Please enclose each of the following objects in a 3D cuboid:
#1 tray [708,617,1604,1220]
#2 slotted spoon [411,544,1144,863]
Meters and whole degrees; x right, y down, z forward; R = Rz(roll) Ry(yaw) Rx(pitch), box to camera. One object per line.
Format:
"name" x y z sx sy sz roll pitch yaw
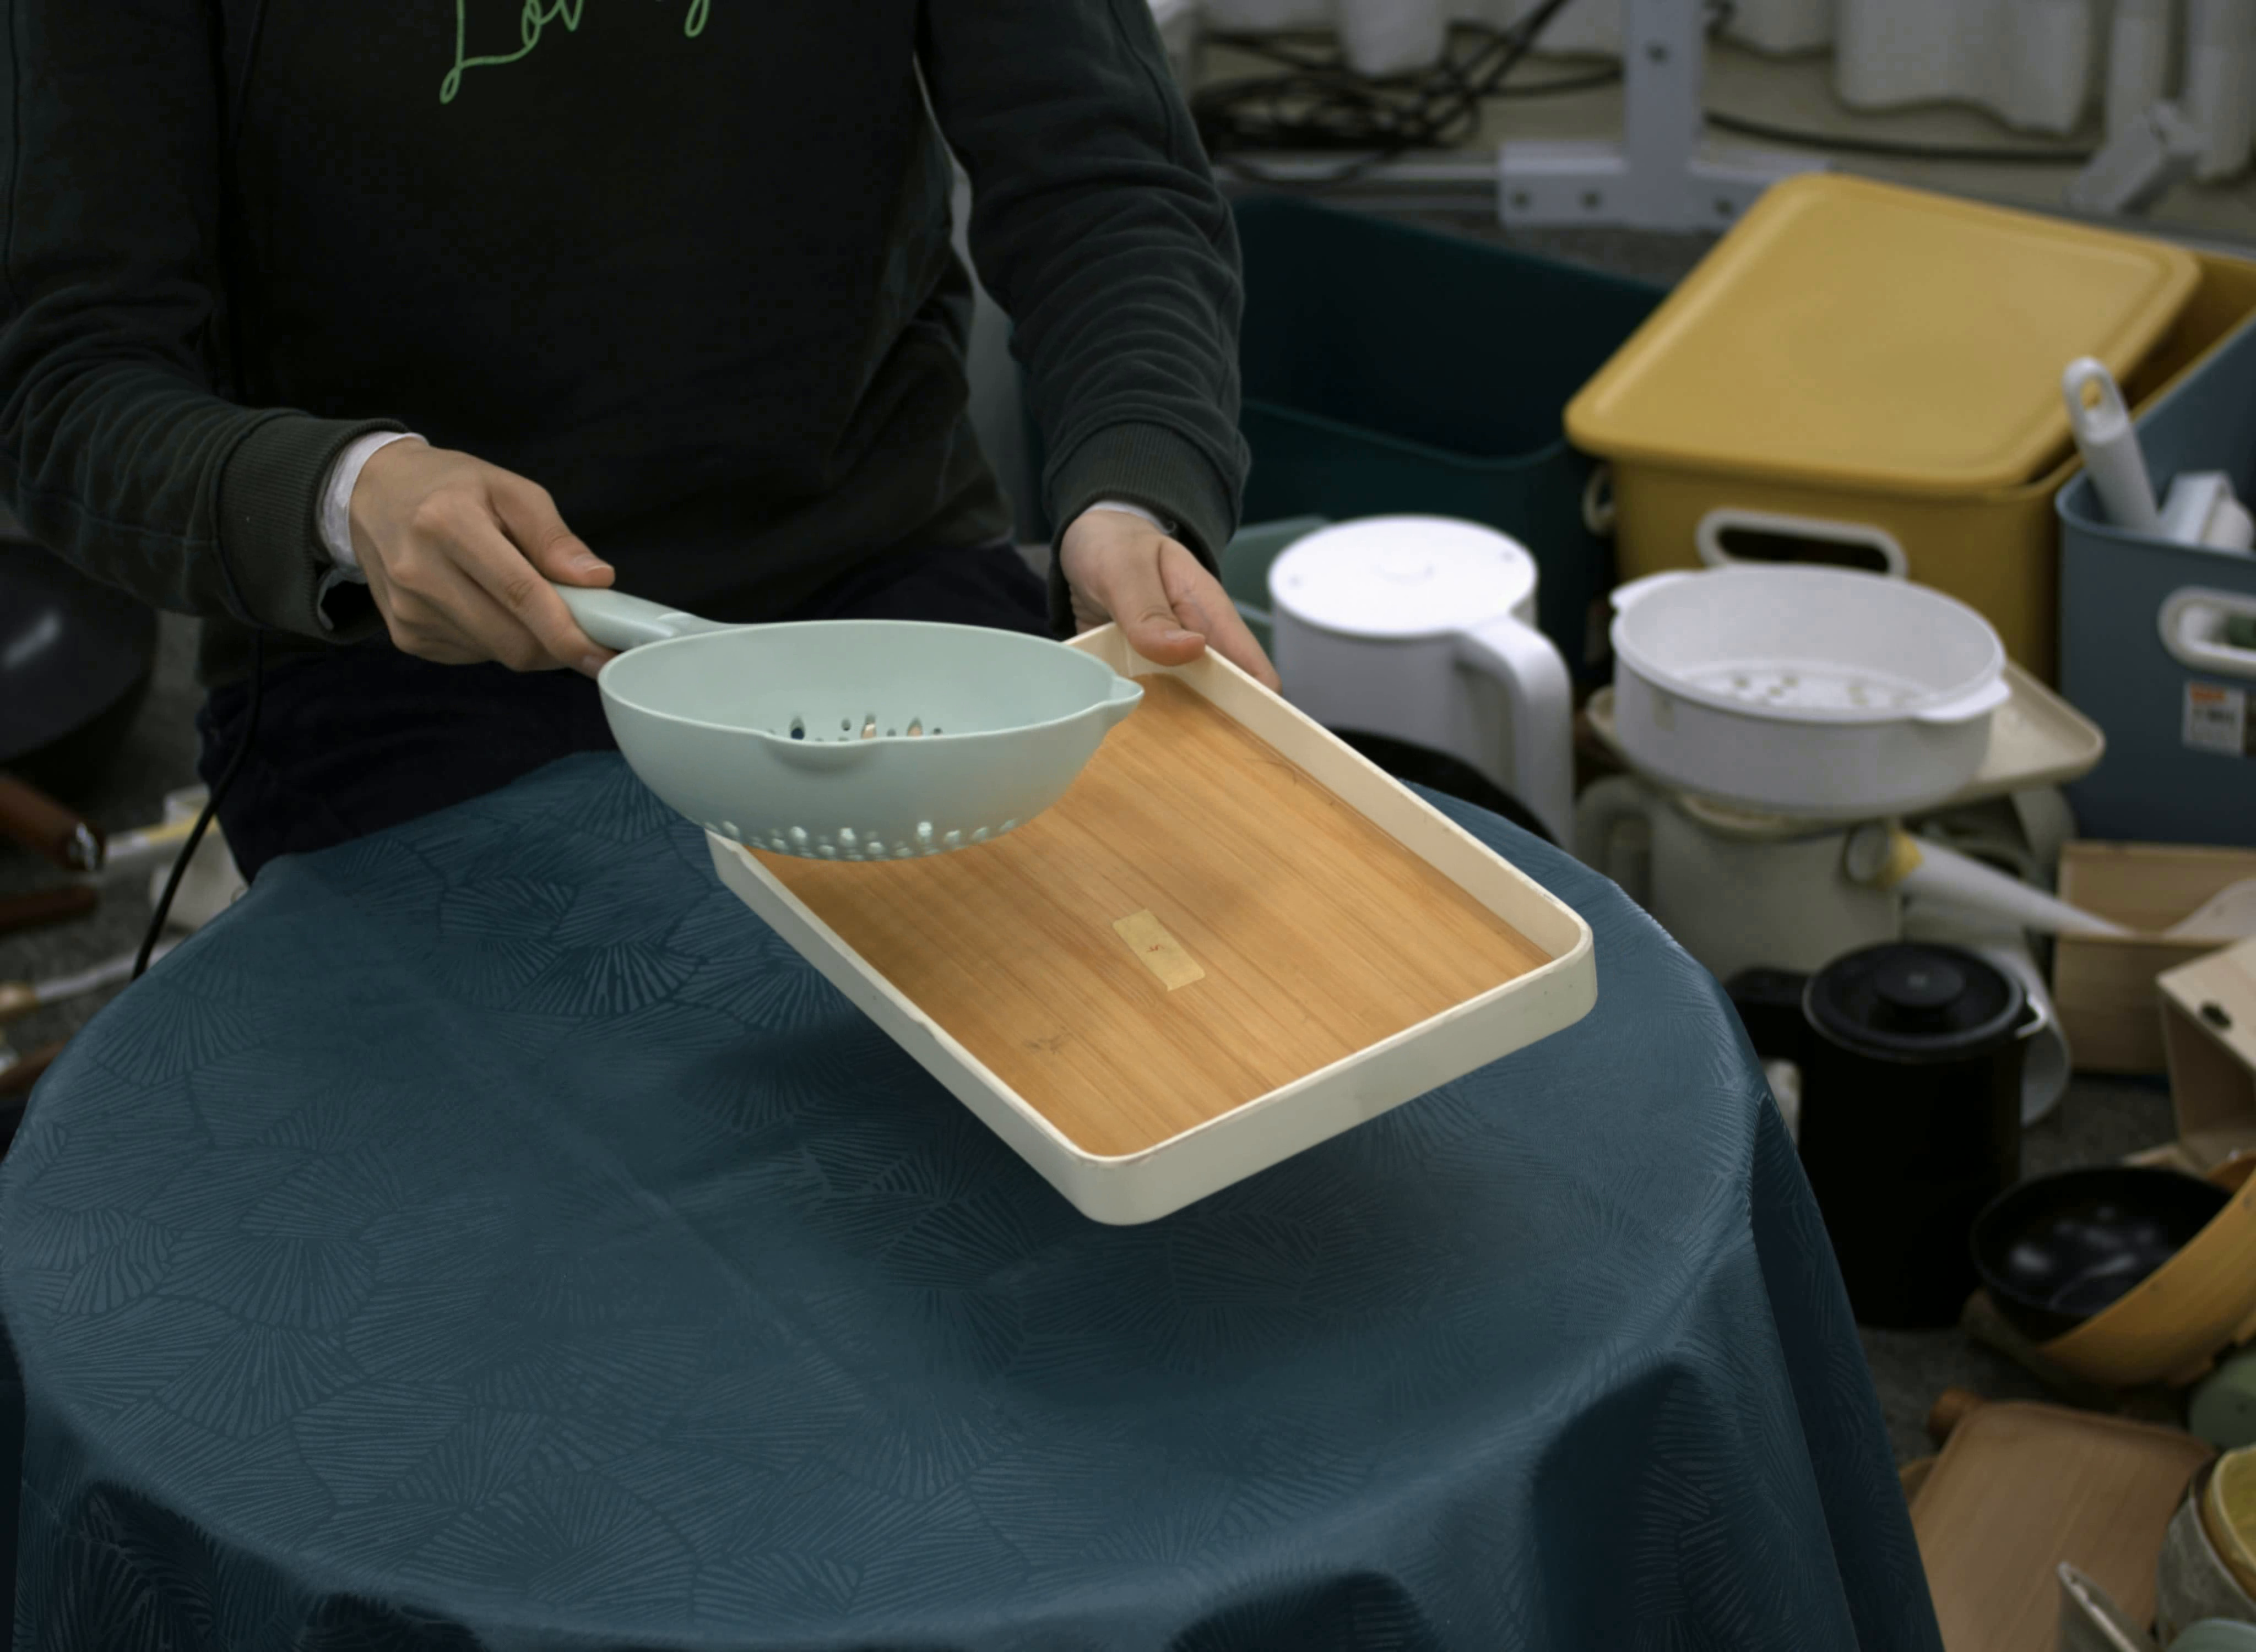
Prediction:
"tray" 0.004 0.024 1.856 0.193 0.027 0.301 -23 32 -21
"slotted spoon" -0.146 -0.056 1.900 0.170 0.075 0.359 -8 24 -37
